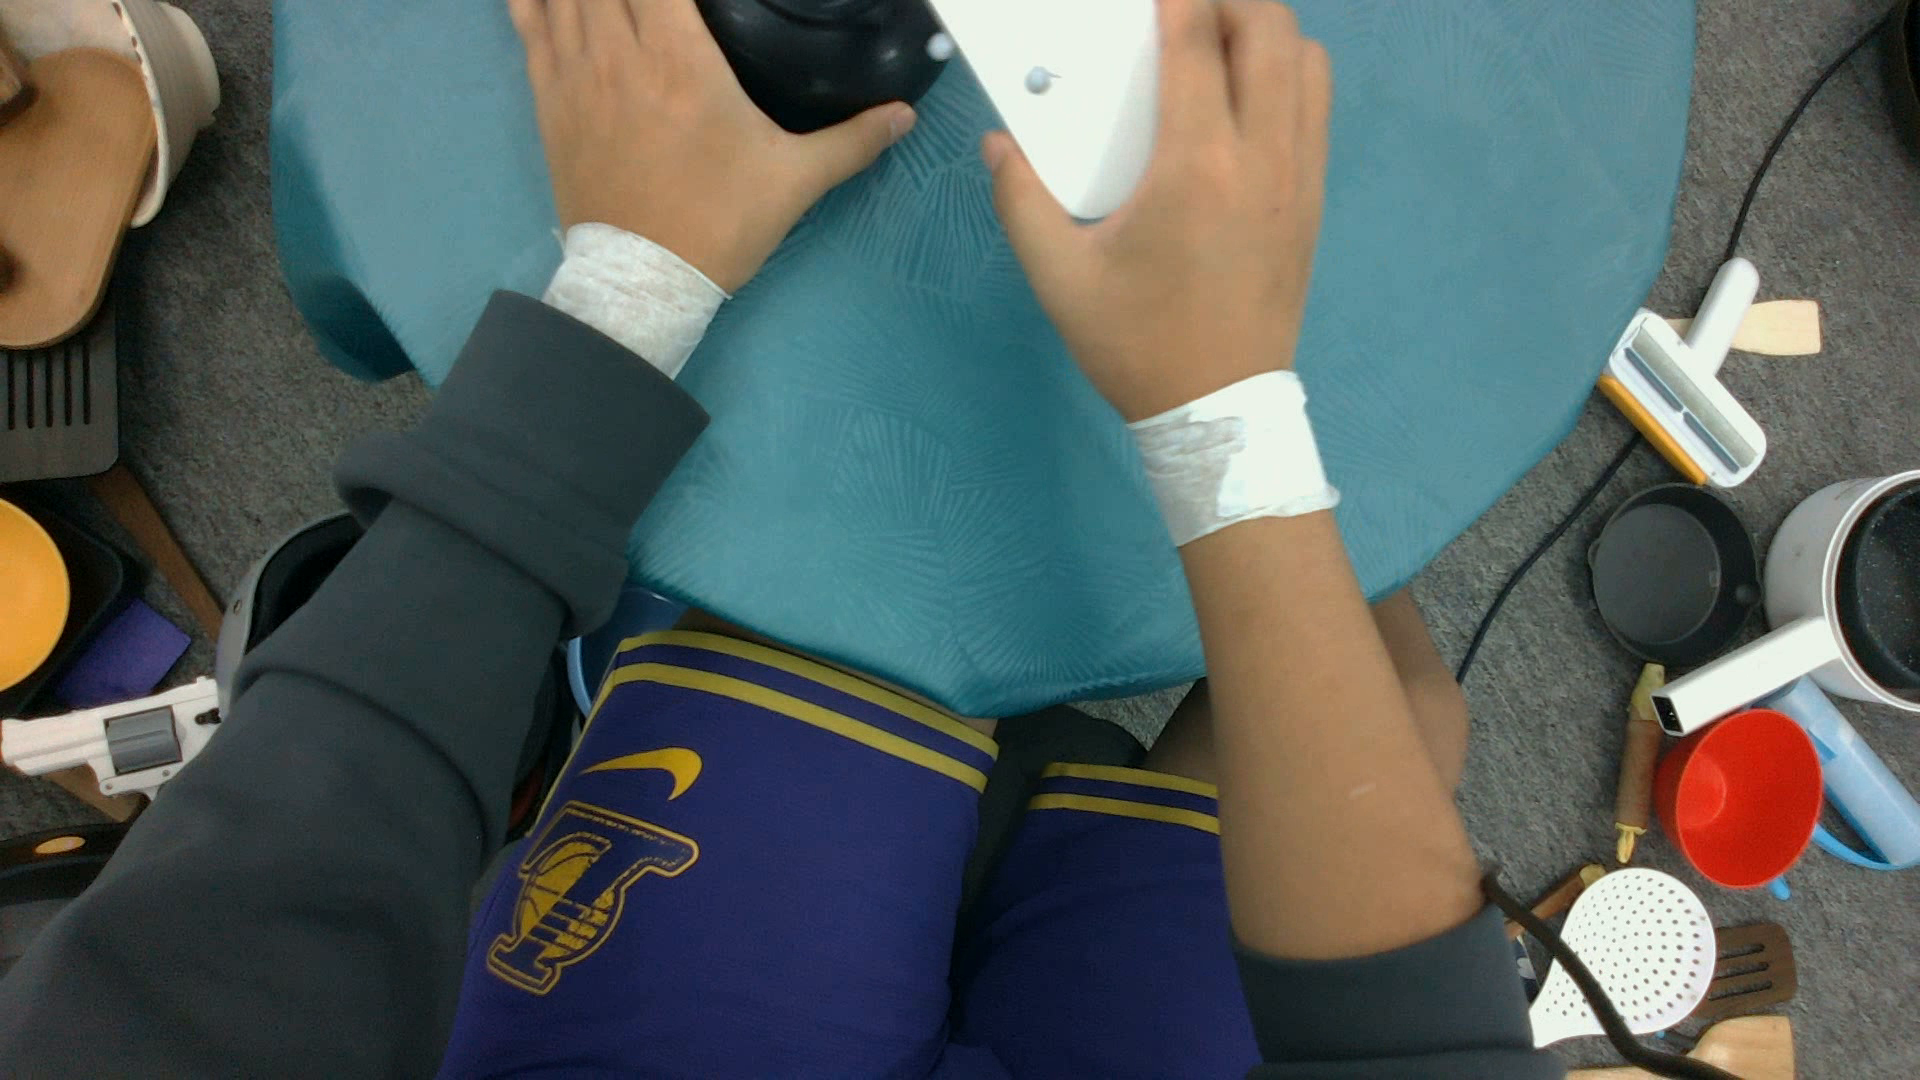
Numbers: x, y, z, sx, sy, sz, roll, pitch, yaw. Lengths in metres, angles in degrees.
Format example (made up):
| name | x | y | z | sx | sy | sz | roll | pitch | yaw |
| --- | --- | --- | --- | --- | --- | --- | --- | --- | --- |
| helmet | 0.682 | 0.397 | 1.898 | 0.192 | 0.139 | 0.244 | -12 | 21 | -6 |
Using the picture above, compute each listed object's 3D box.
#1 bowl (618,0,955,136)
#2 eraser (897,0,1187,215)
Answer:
| name | x | y | z | sx | sy | sz | roll | pitch | yaw |
| --- | --- | --- | --- | --- | --- | --- | --- | --- | --- |
| bowl | -0.060 | -0.227 | 0.518 | 0.140 | 0.050 | 0.140 | -1 | 94 | -20 |
| eraser | 0.017 | -0.171 | 0.450 | 0.063 | 0.034 | 0.131 | -33 | 94 | 2 |
